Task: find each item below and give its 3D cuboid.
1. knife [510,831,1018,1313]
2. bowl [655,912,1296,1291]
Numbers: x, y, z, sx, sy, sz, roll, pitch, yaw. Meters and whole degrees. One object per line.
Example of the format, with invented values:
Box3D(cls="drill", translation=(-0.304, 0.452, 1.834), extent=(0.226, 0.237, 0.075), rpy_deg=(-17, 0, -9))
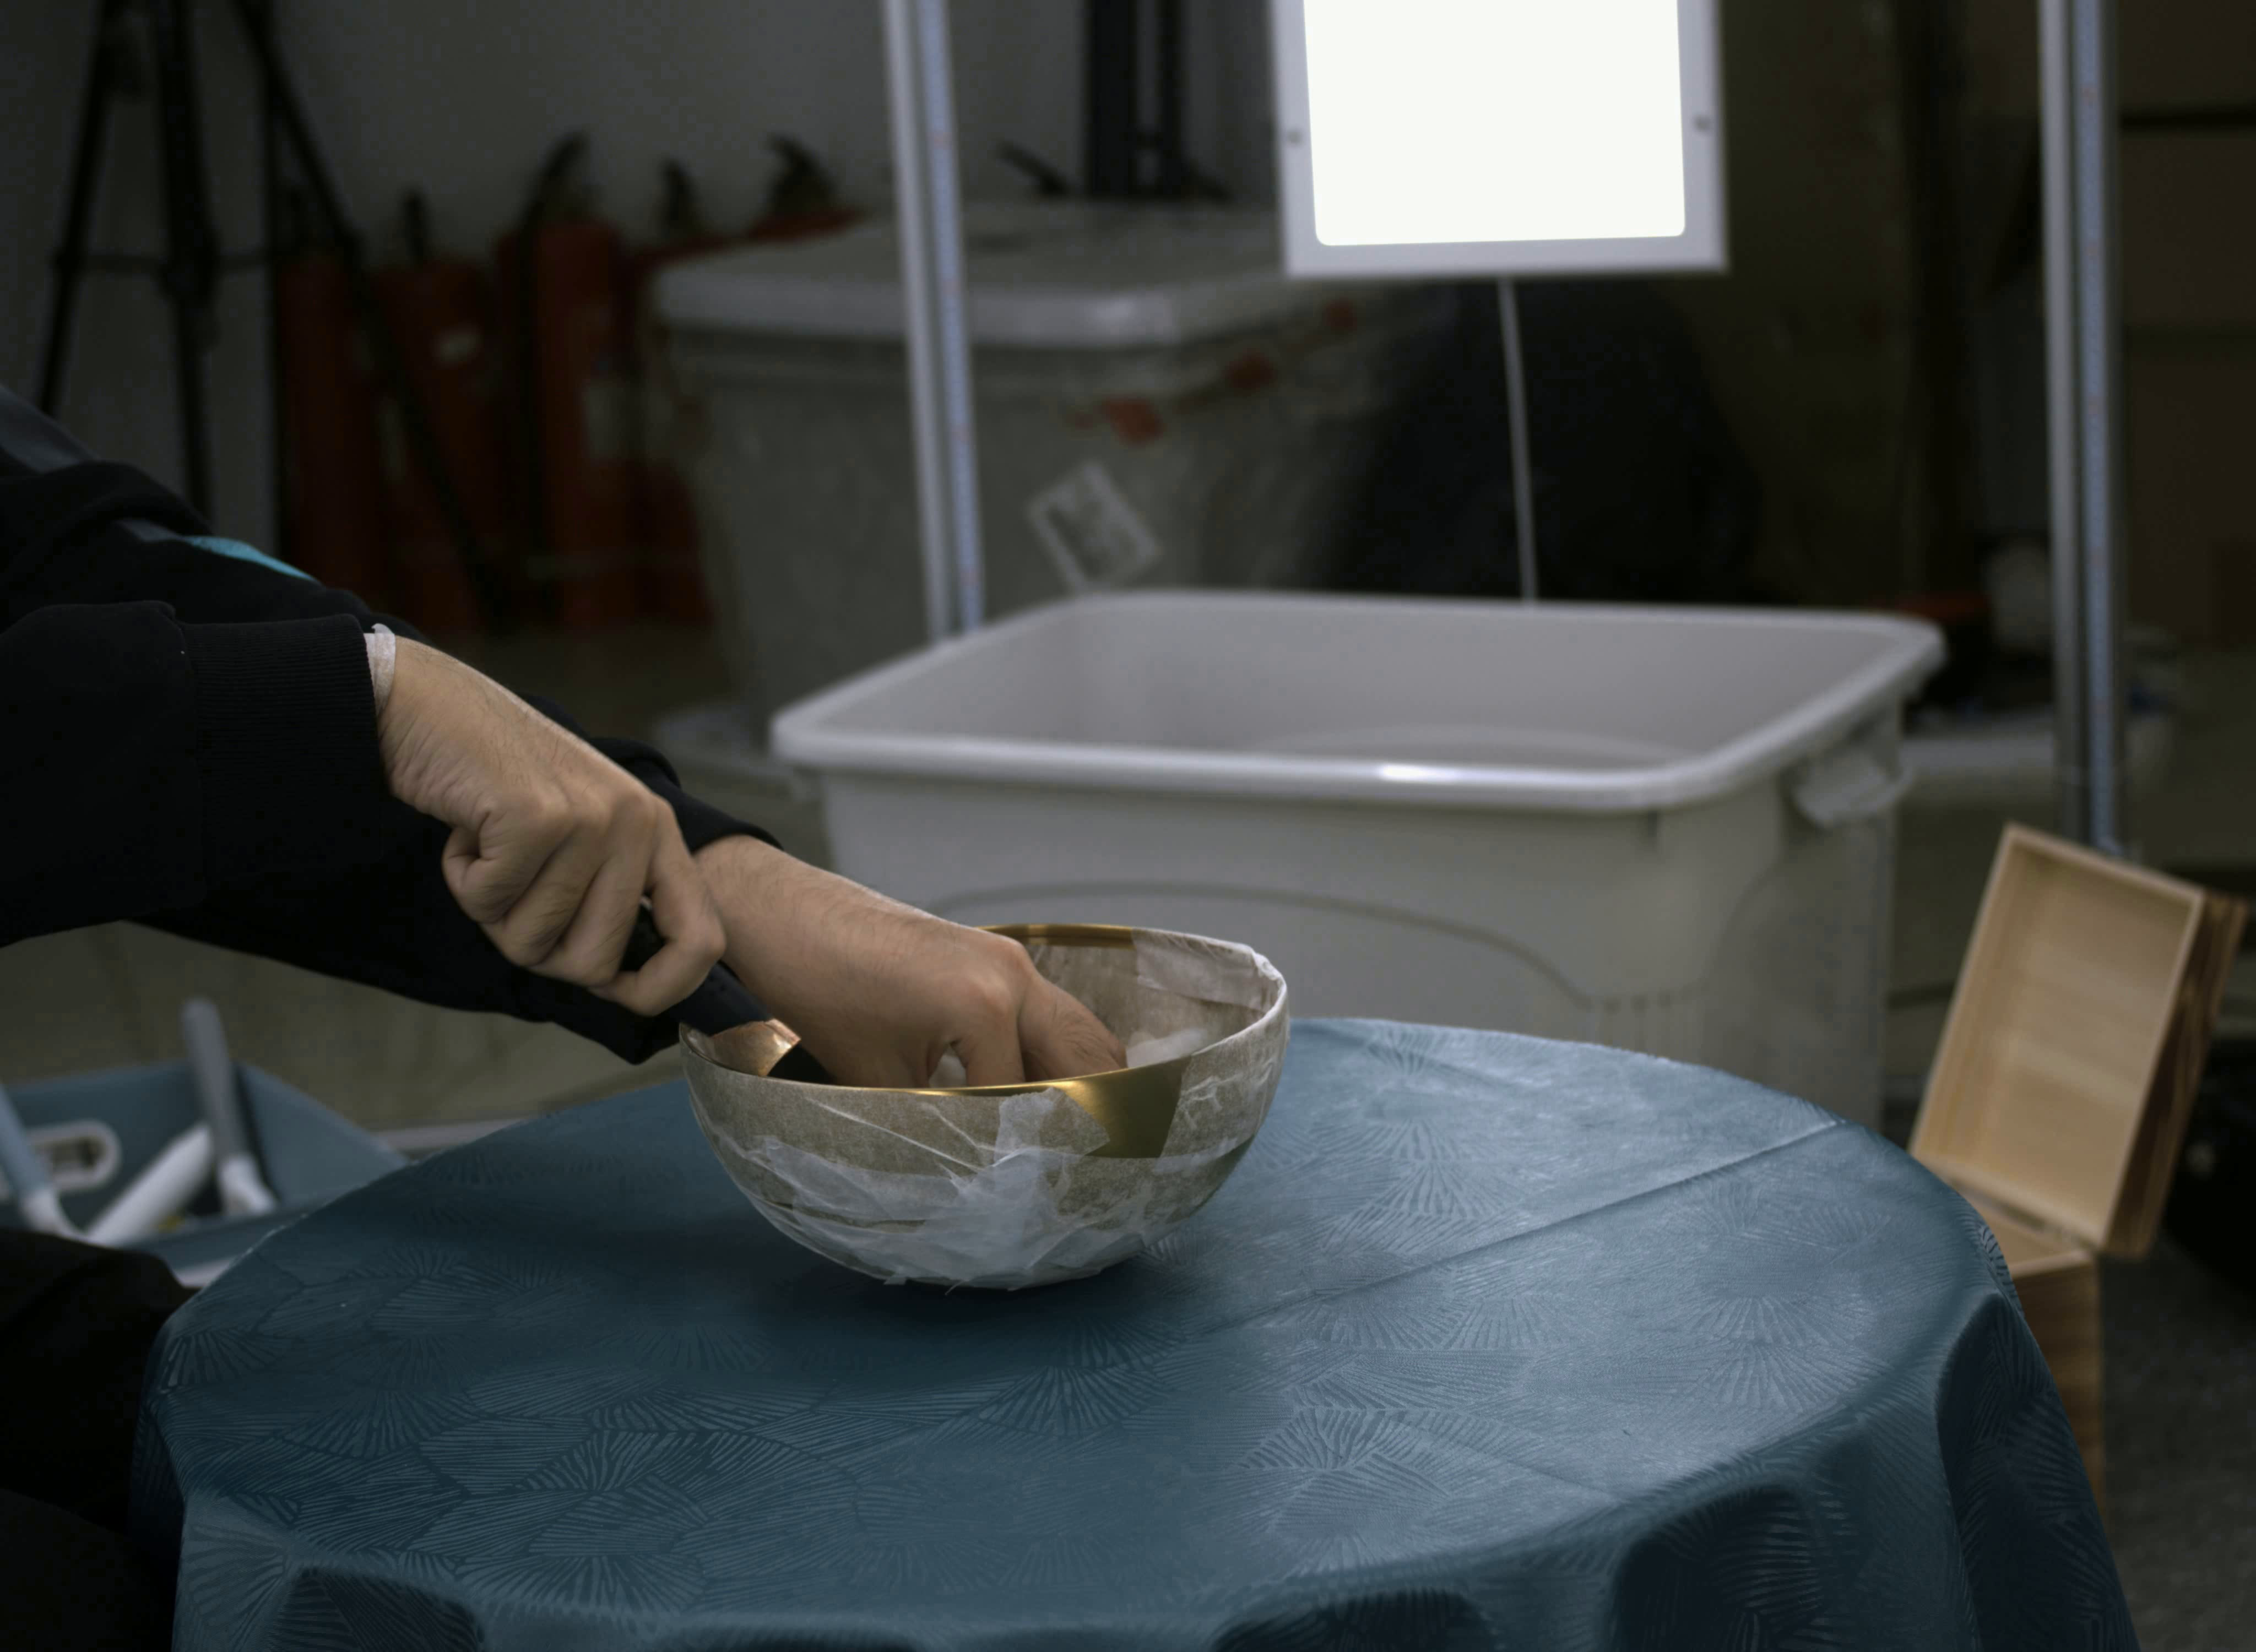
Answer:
Box3D(cls="knife", translation=(-0.115, 0.081, 1.788), extent=(0.026, 0.224, 0.017), rpy_deg=(-47, 10, 4))
Box3D(cls="bowl", translation=(-0.048, 0.099, 1.826), extent=(0.214, 0.095, 0.214), rpy_deg=(-5, 15, 0))
